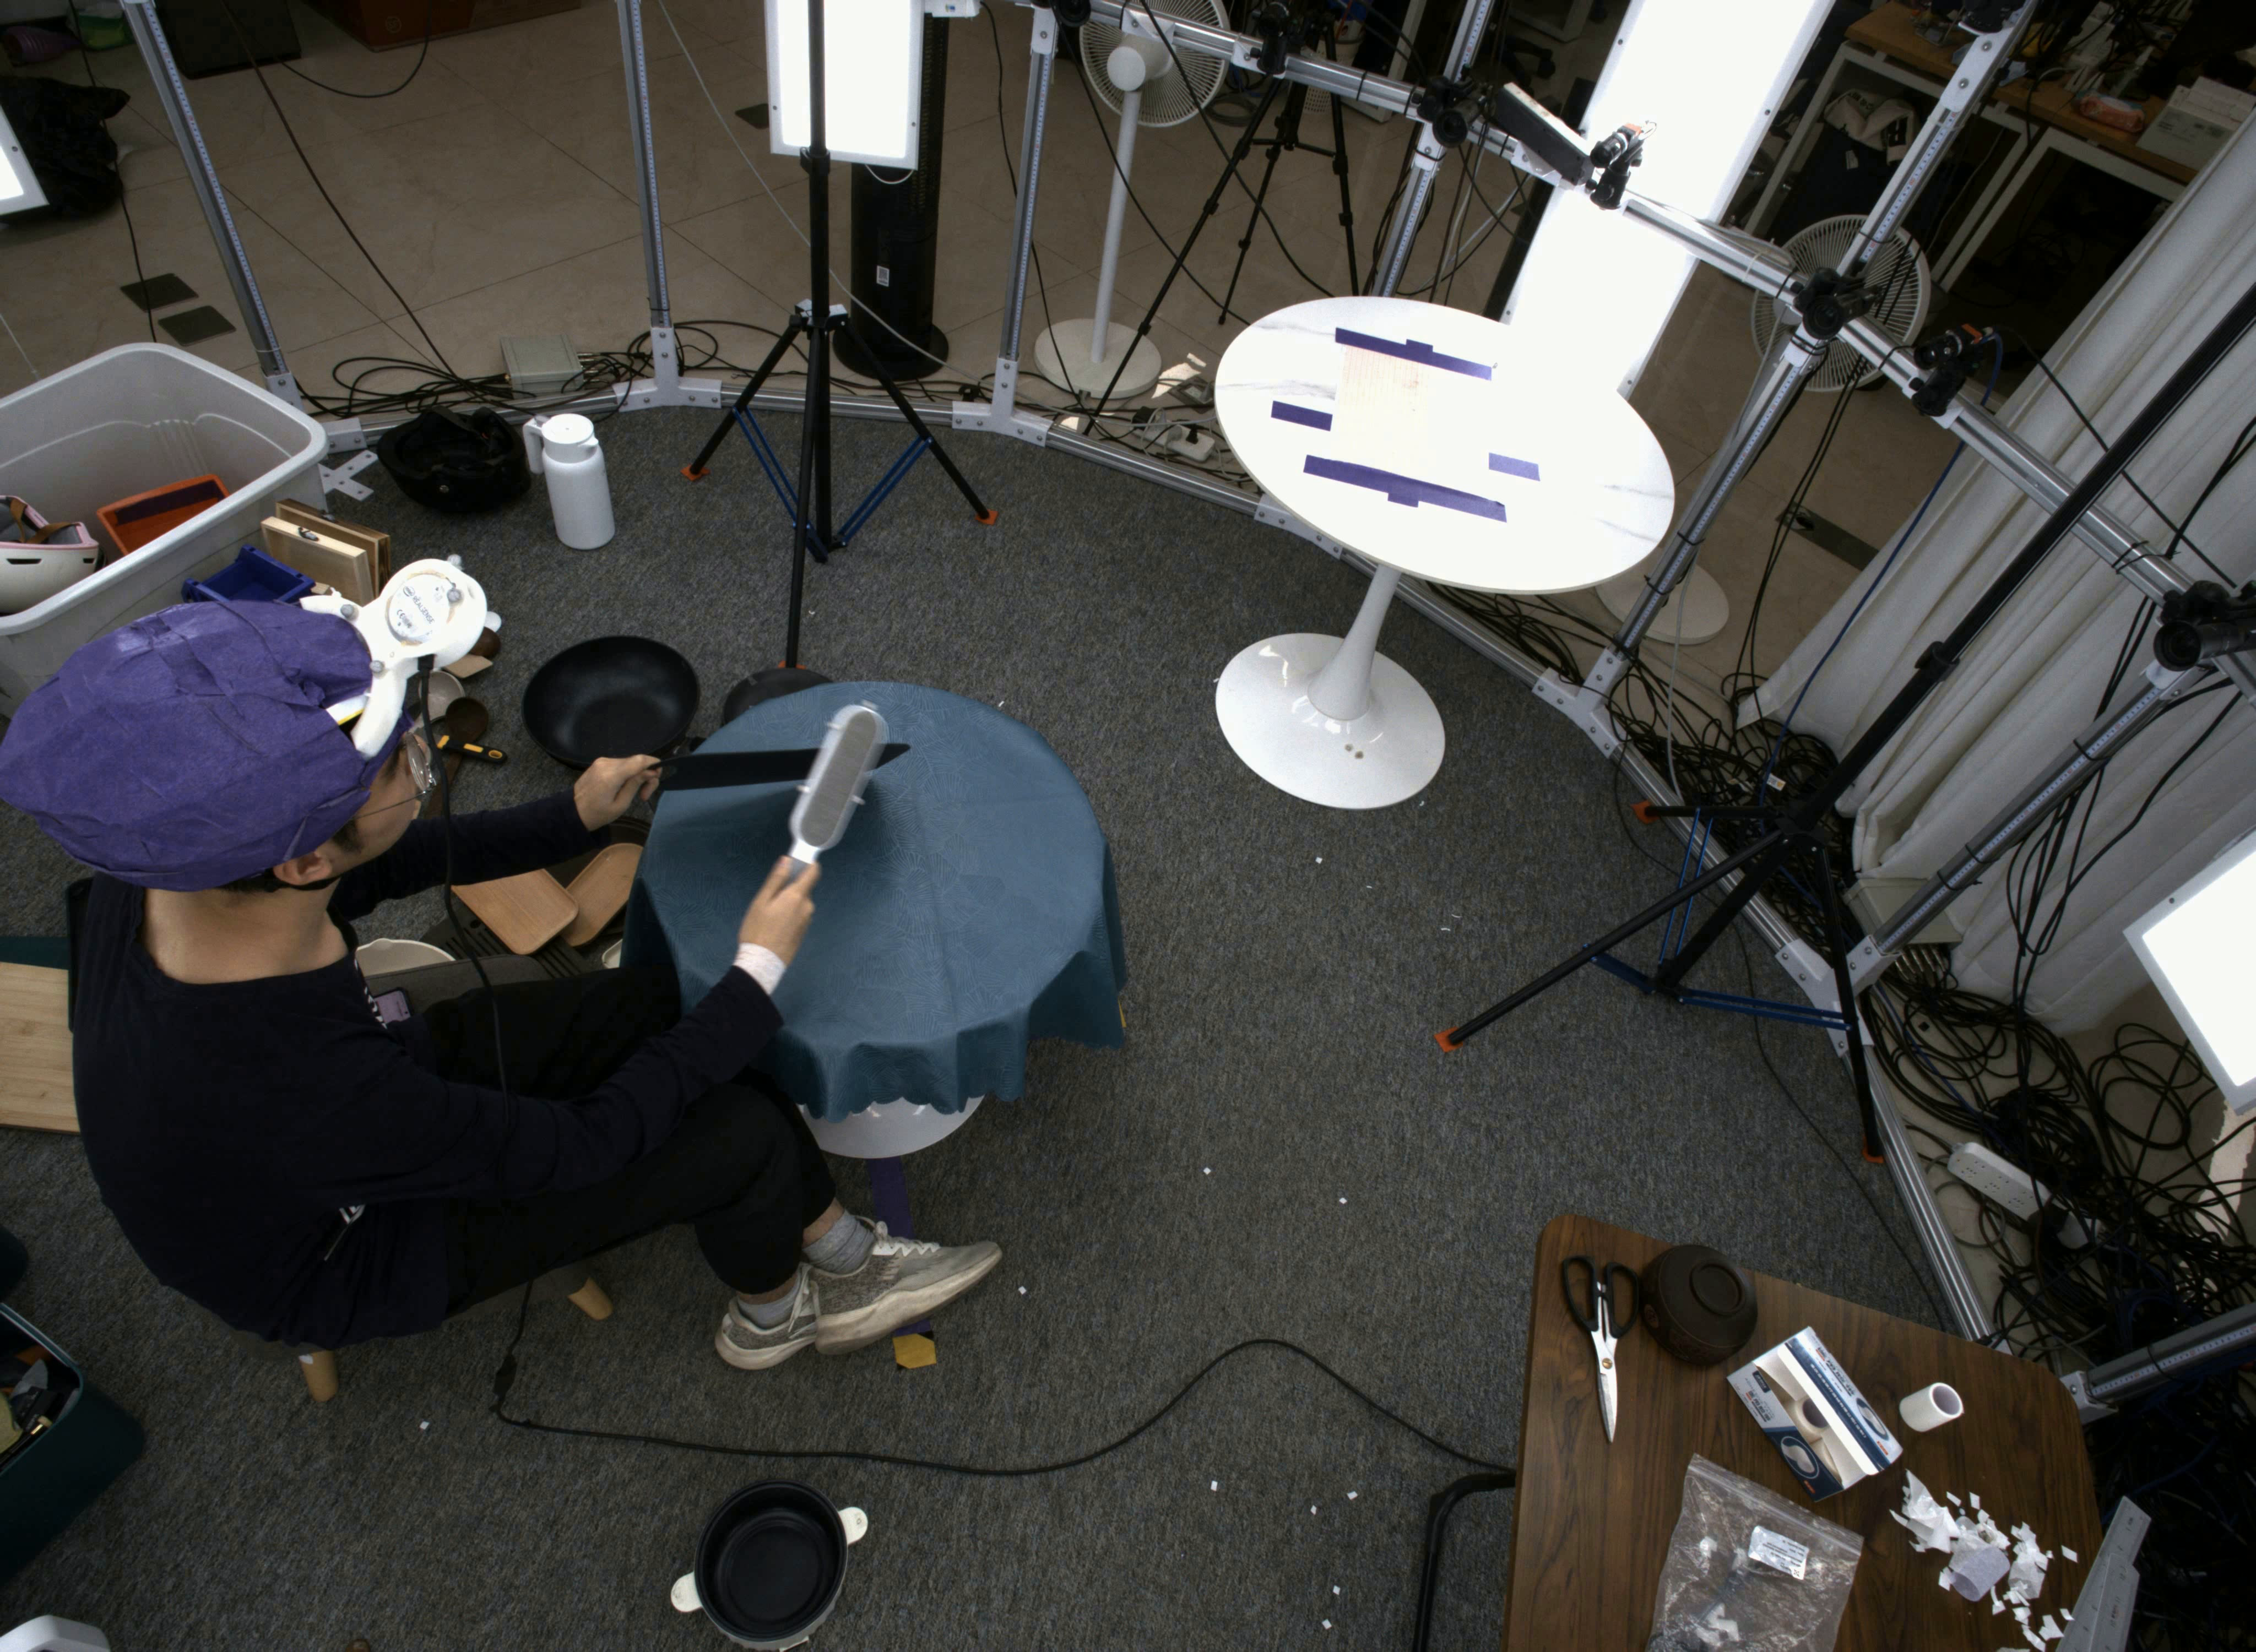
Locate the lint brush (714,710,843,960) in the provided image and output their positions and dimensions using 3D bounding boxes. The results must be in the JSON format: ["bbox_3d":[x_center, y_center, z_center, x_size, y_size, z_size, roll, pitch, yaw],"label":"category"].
[{"bbox_3d":[-0.410,0.008,1.504,0.062,0.020,0.309,30,75,-35],"label":"lint brush"}]

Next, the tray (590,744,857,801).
[{"bbox_3d":[-0.512,-0.068,1.617,0.329,0.207,0.010,-8,84,-31],"label":"tray"}]
